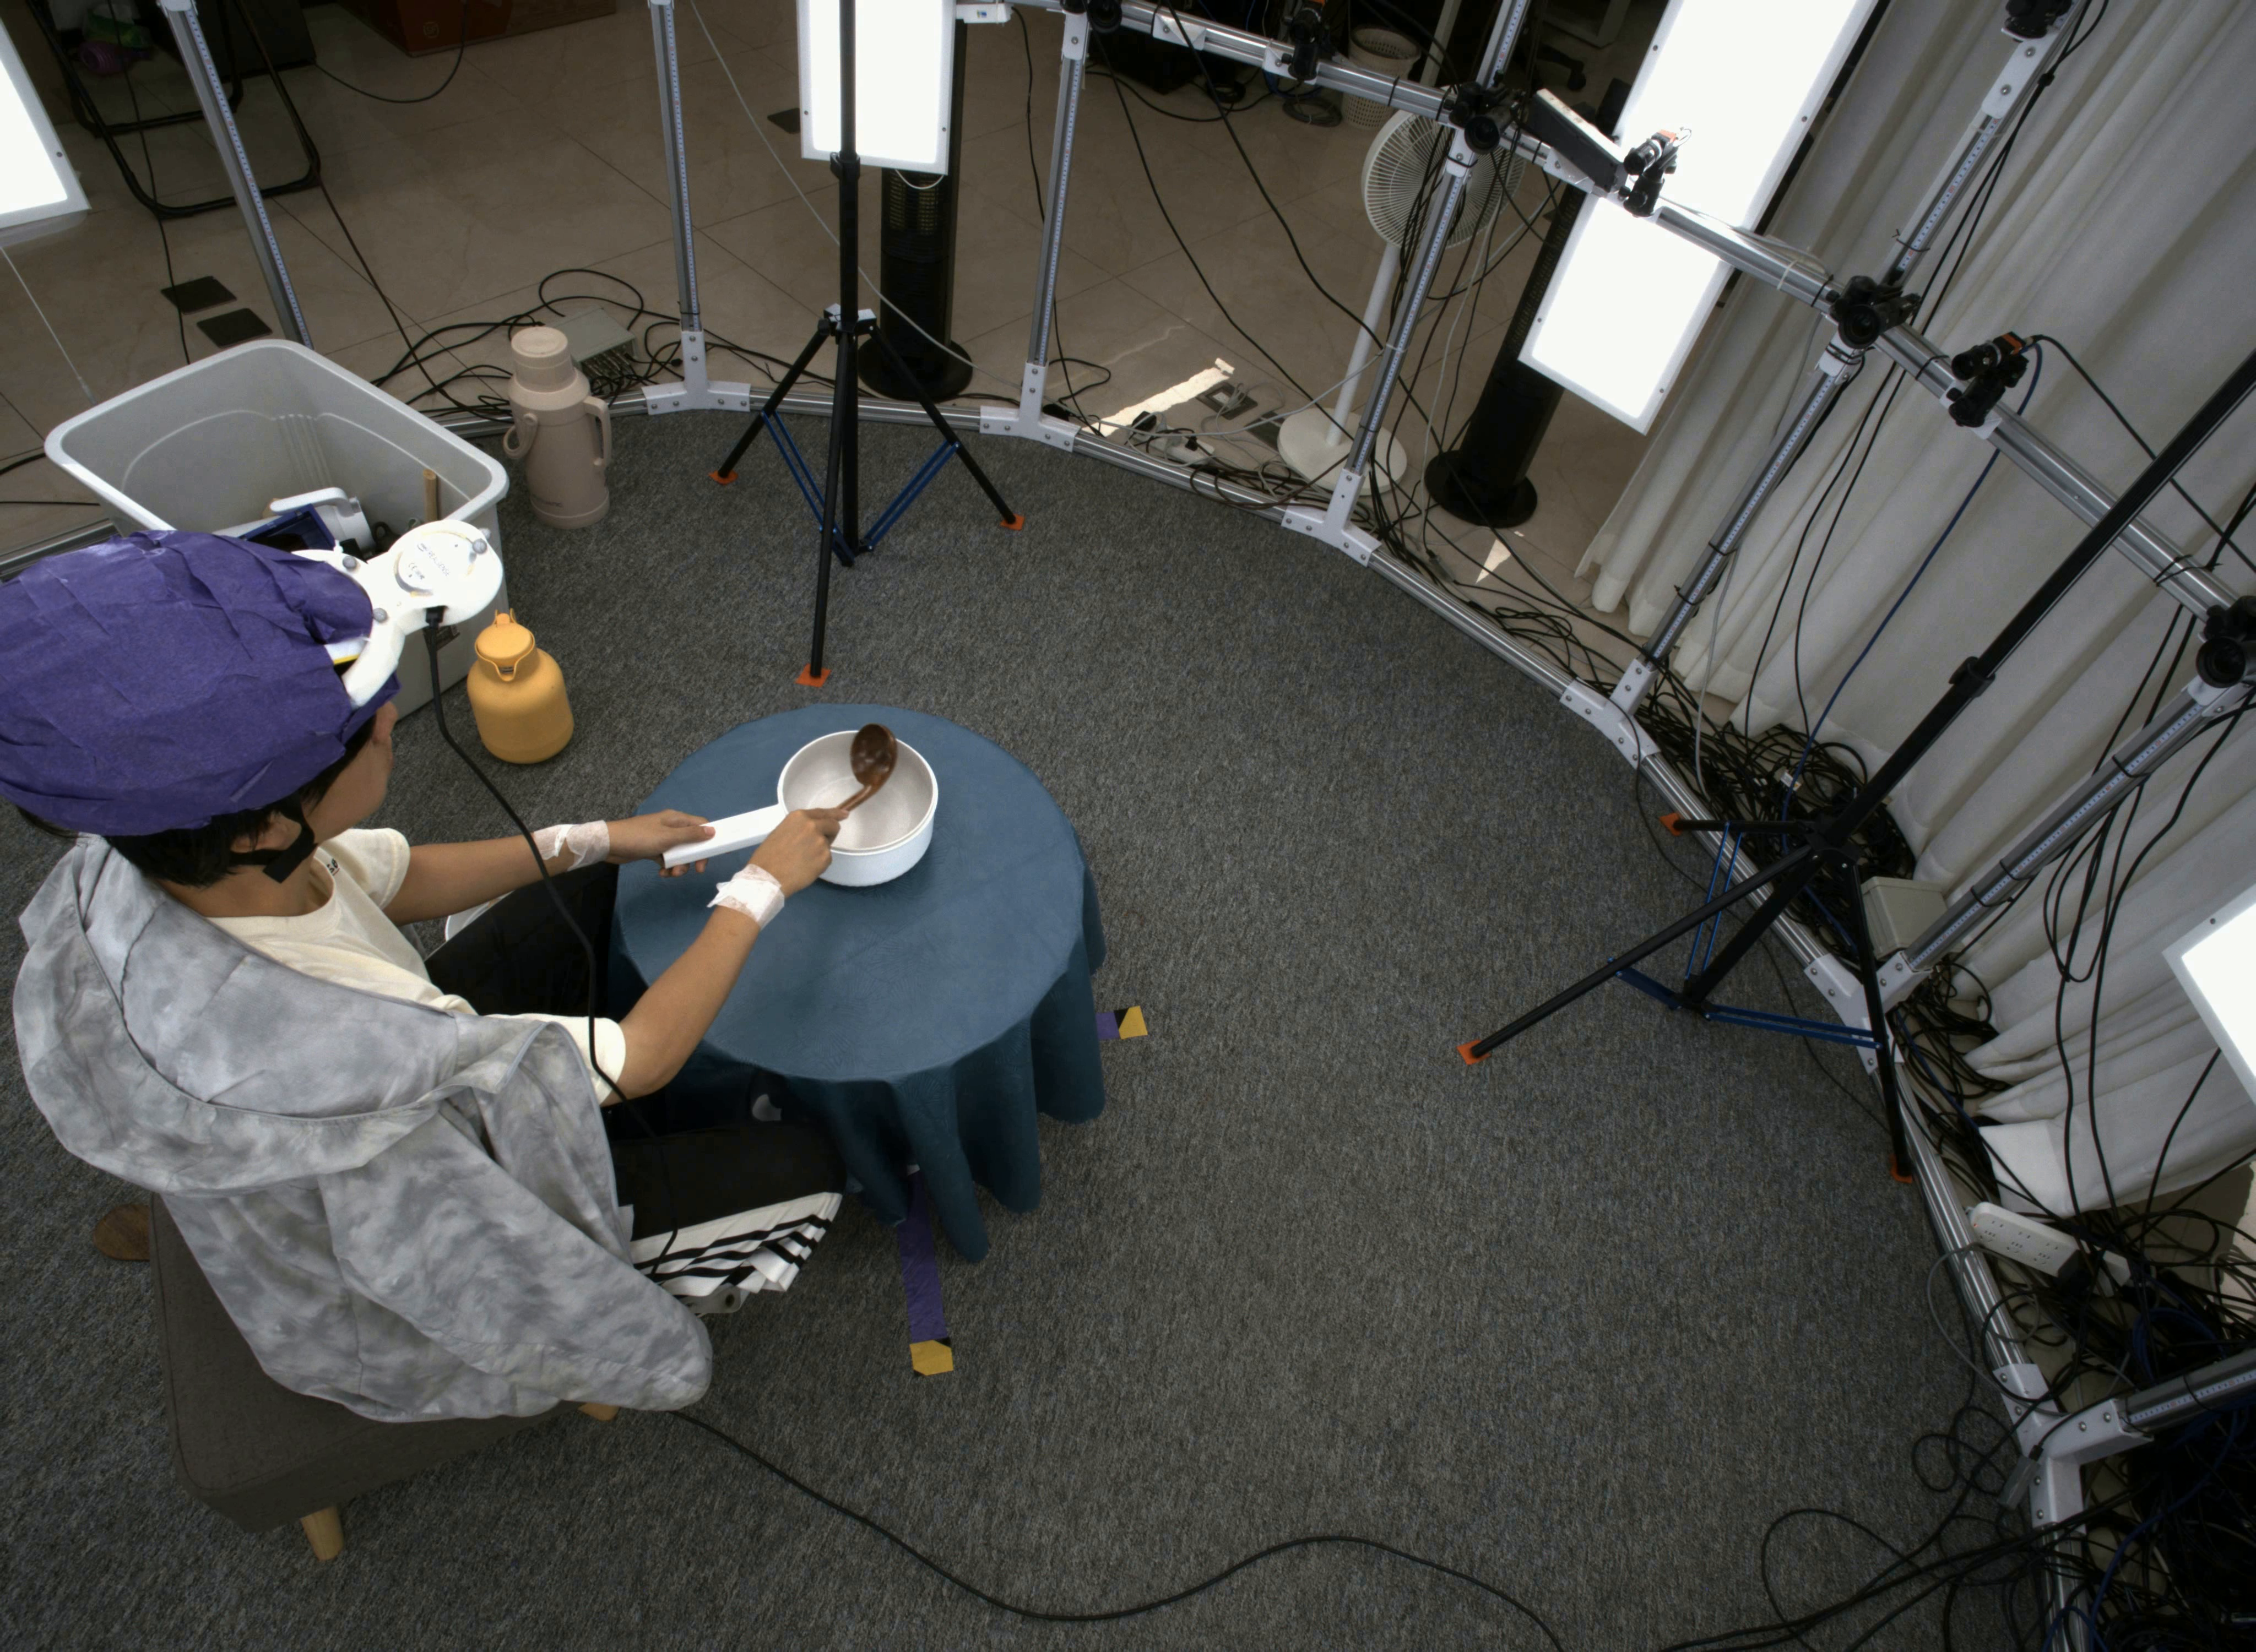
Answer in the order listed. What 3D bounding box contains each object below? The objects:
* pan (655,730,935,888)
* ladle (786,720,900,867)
[{"bbox_3d":[-0.420,0.003,1.661,0.356,0.104,0.196,-17,60,-24],"label":"pan"},{"bbox_3d":[-0.359,-0.047,1.584,0.077,0.082,0.273,43,34,-3],"label":"ladle"}]
